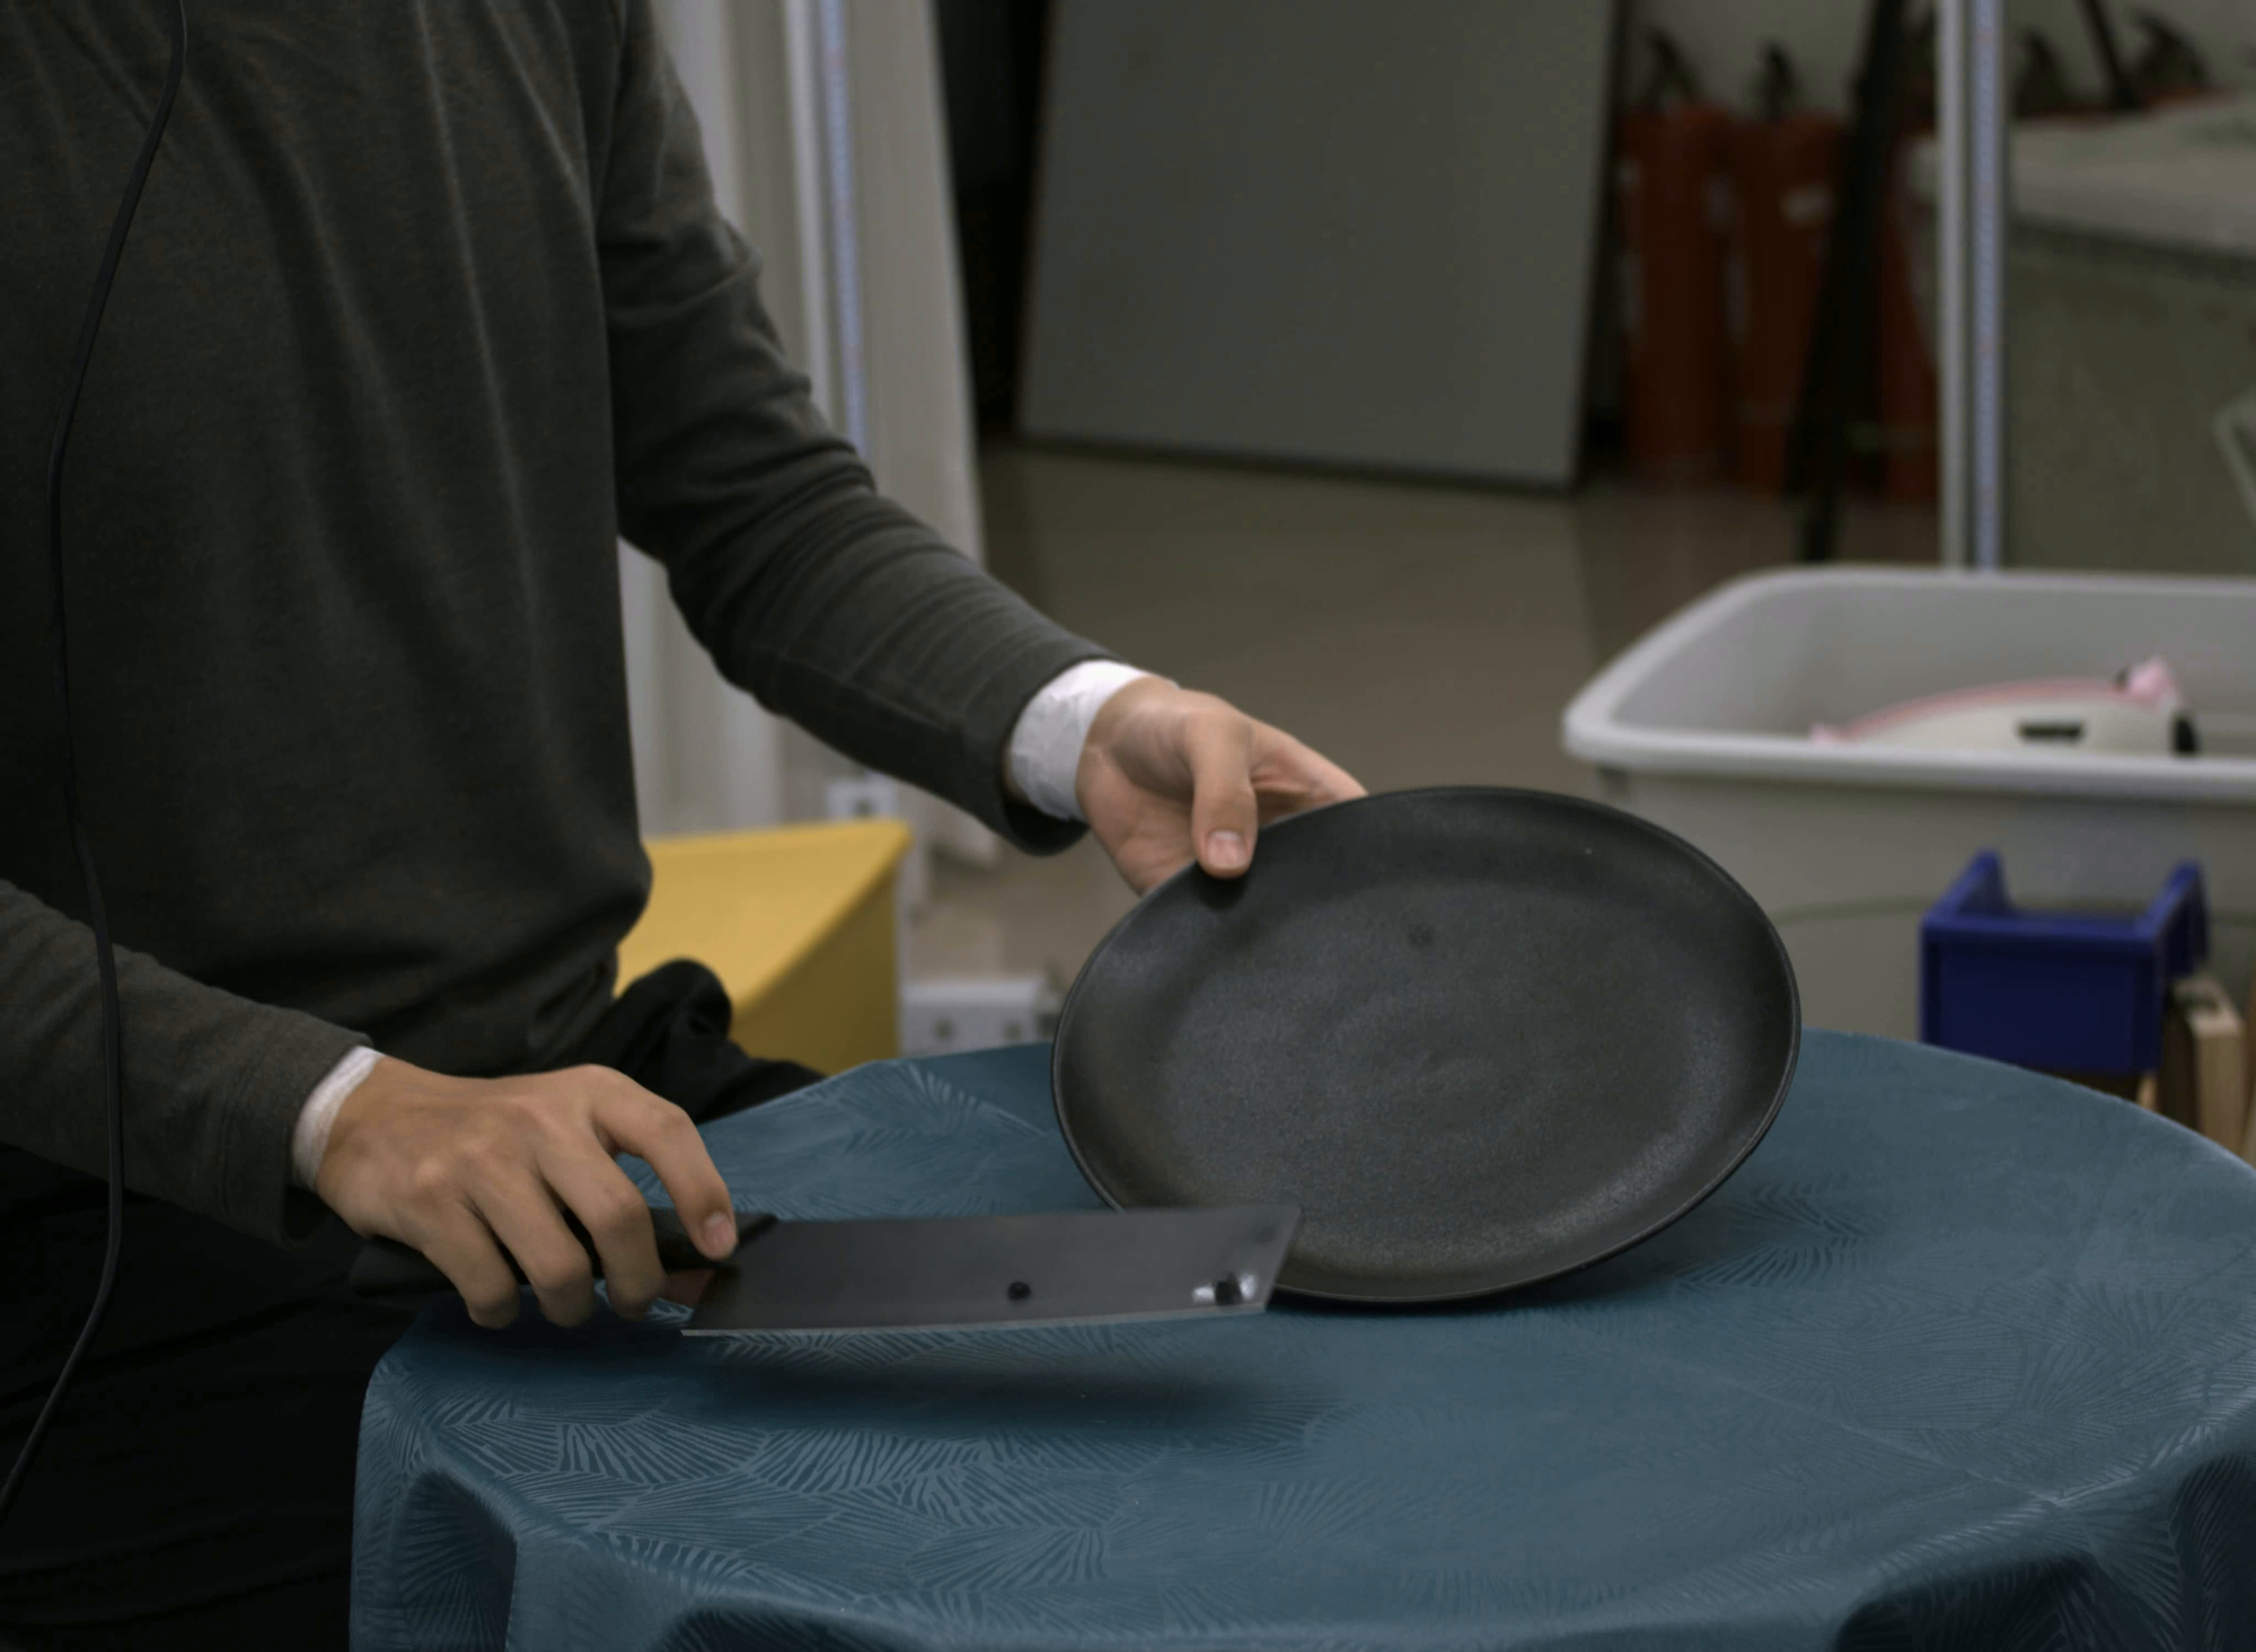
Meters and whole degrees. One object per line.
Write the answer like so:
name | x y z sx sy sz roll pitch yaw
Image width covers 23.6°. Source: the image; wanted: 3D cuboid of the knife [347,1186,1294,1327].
knife | -0.096 0.131 1.622 0.302 0.021 0.080 -3 24 22

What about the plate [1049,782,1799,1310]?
plate | 0.095 0.073 1.730 0.242 0.023 0.246 -7 40 5
